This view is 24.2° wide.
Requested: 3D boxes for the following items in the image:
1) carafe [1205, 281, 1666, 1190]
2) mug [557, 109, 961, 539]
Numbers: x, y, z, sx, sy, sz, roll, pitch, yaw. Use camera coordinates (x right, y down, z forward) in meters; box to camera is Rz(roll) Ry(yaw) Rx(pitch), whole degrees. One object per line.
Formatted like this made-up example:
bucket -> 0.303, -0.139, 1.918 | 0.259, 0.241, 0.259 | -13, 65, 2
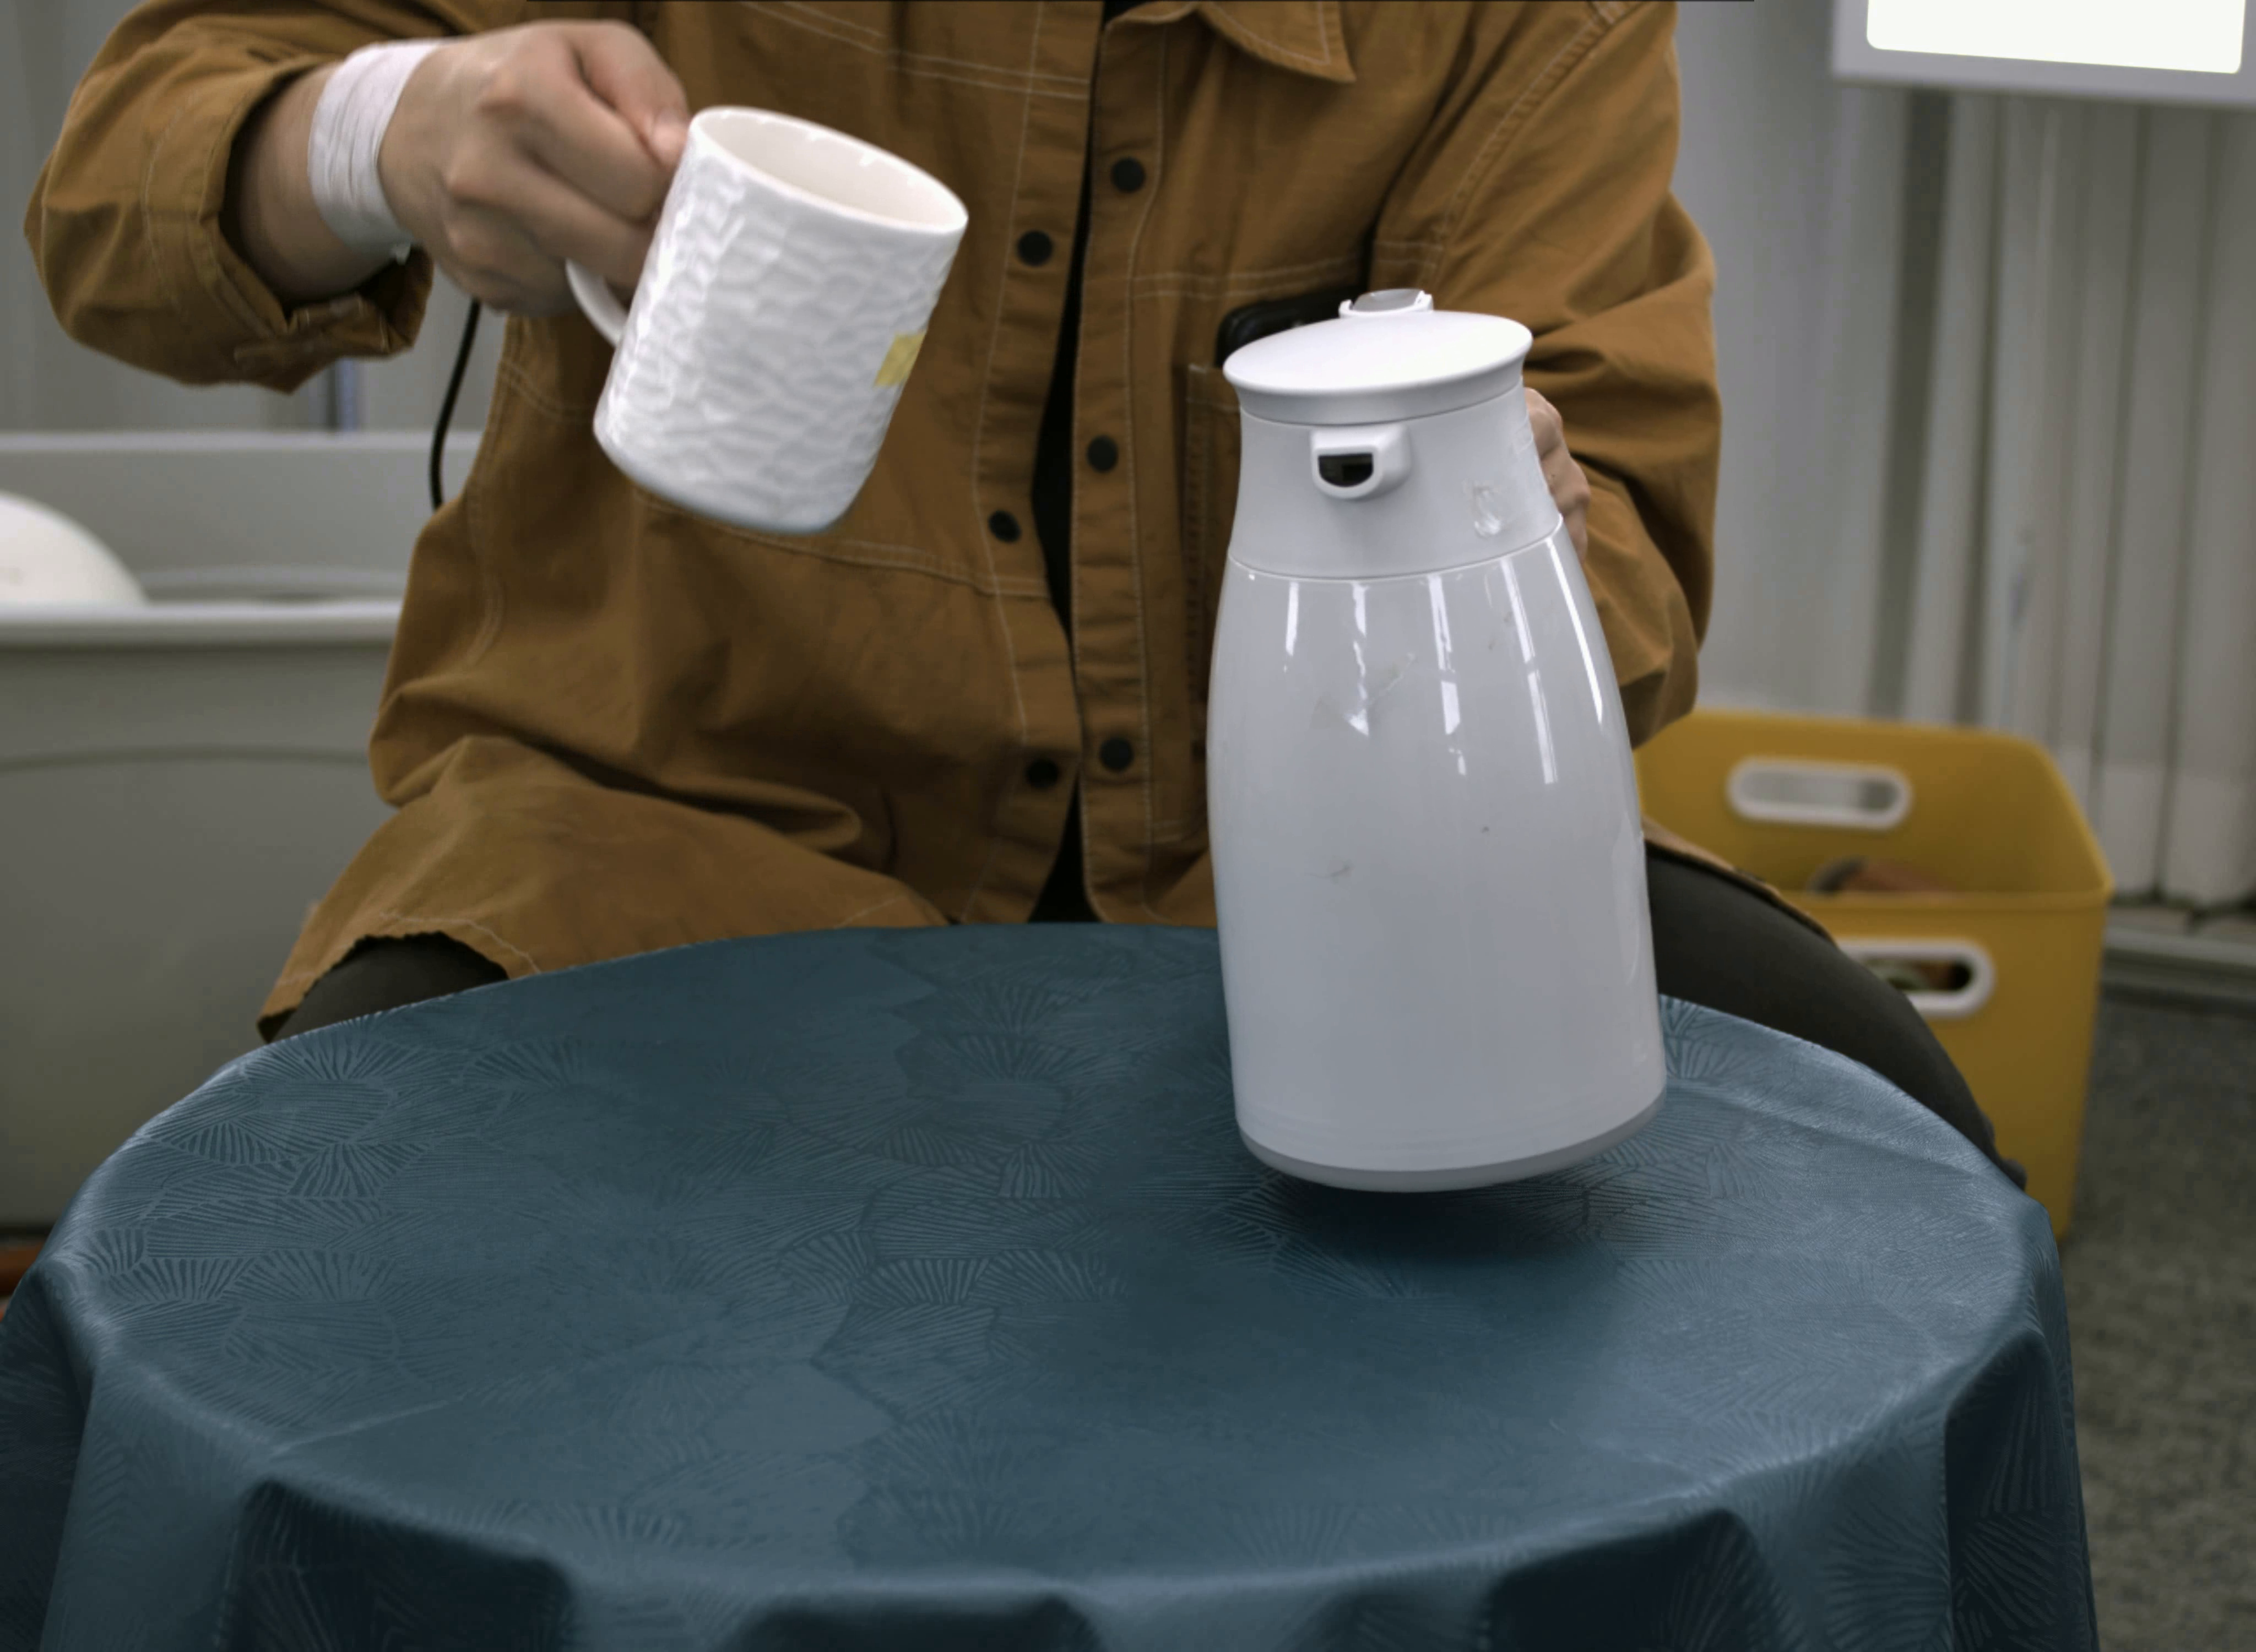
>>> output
carafe -> 0.088, -0.036, 1.590 | 0.131, 0.251, 0.167 | -3, 18, 12
mug -> -0.119, -0.154, 1.552 | 0.117, 0.102, 0.085 | 28, 21, 19
